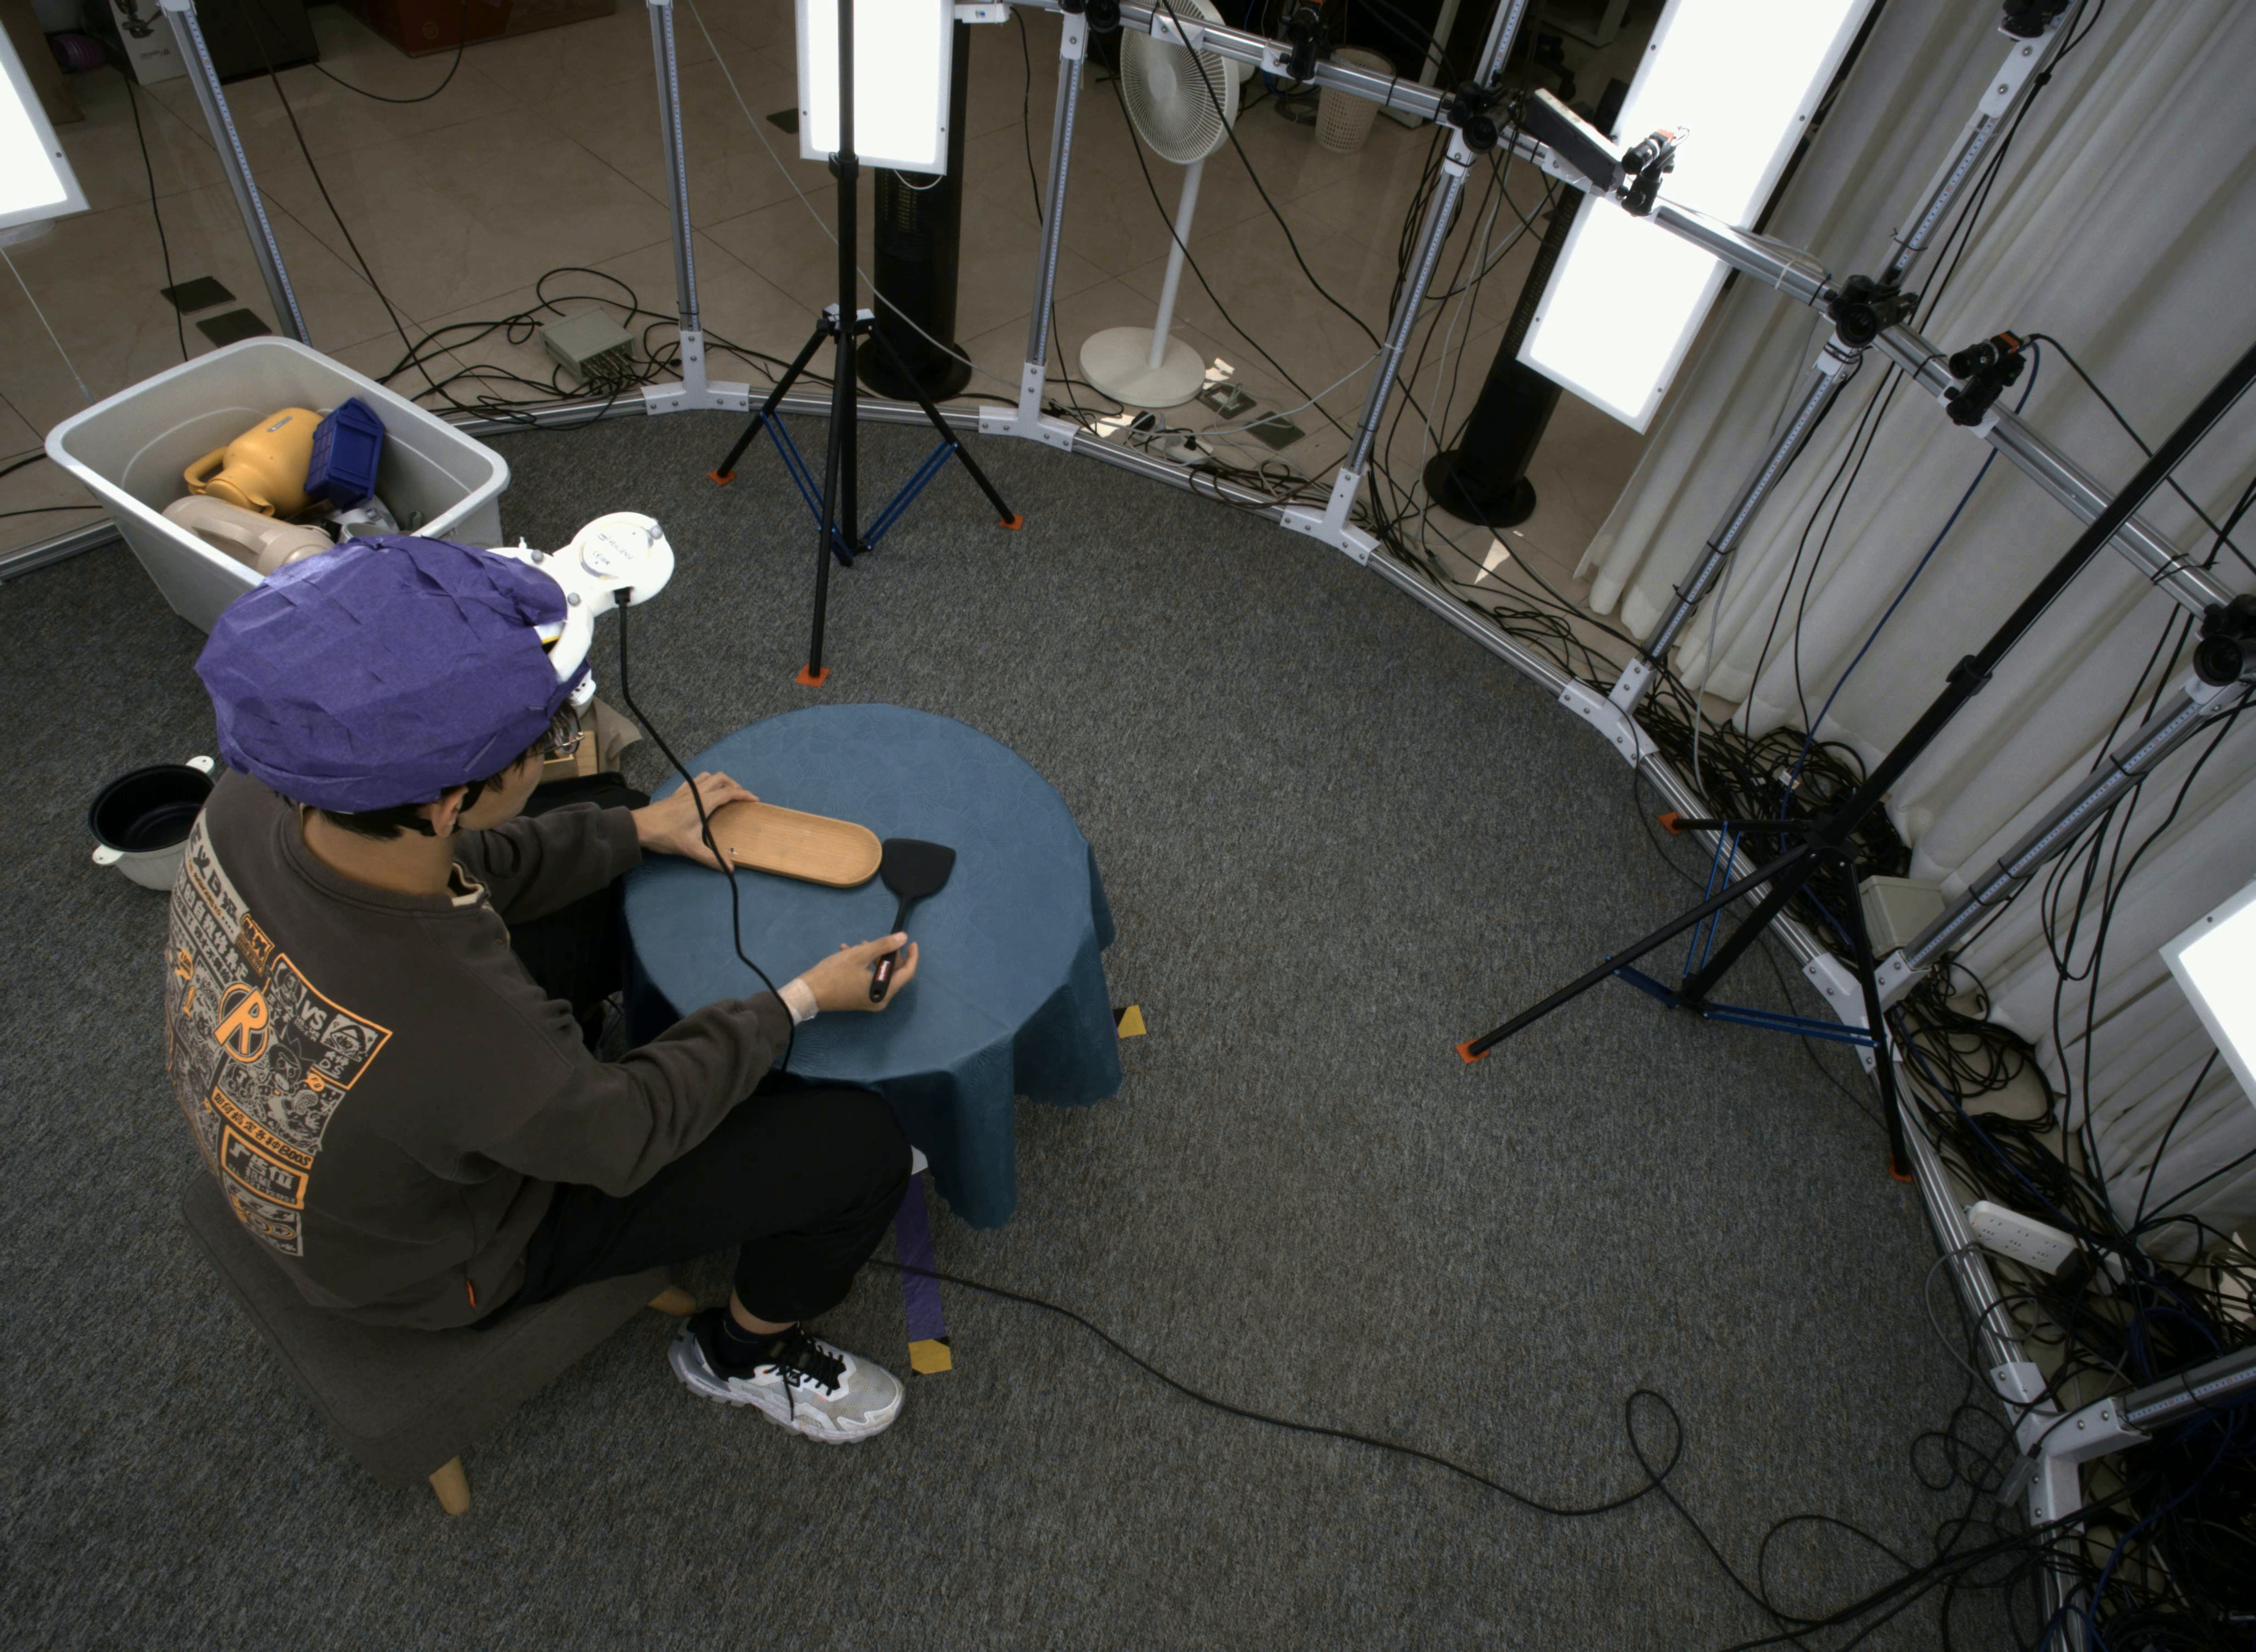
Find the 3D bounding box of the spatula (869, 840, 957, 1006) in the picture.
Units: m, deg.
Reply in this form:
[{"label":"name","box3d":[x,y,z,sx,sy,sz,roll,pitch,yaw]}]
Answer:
[{"label":"spatula","box3d":[-0.285,0.114,1.628,0.099,0.041,0.320,9,29,-3]}]

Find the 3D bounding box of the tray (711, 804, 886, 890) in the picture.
[{"label":"tray","box3d":[-0.434,0.026,1.707,0.230,0.021,0.100,13,53,-6]}]
